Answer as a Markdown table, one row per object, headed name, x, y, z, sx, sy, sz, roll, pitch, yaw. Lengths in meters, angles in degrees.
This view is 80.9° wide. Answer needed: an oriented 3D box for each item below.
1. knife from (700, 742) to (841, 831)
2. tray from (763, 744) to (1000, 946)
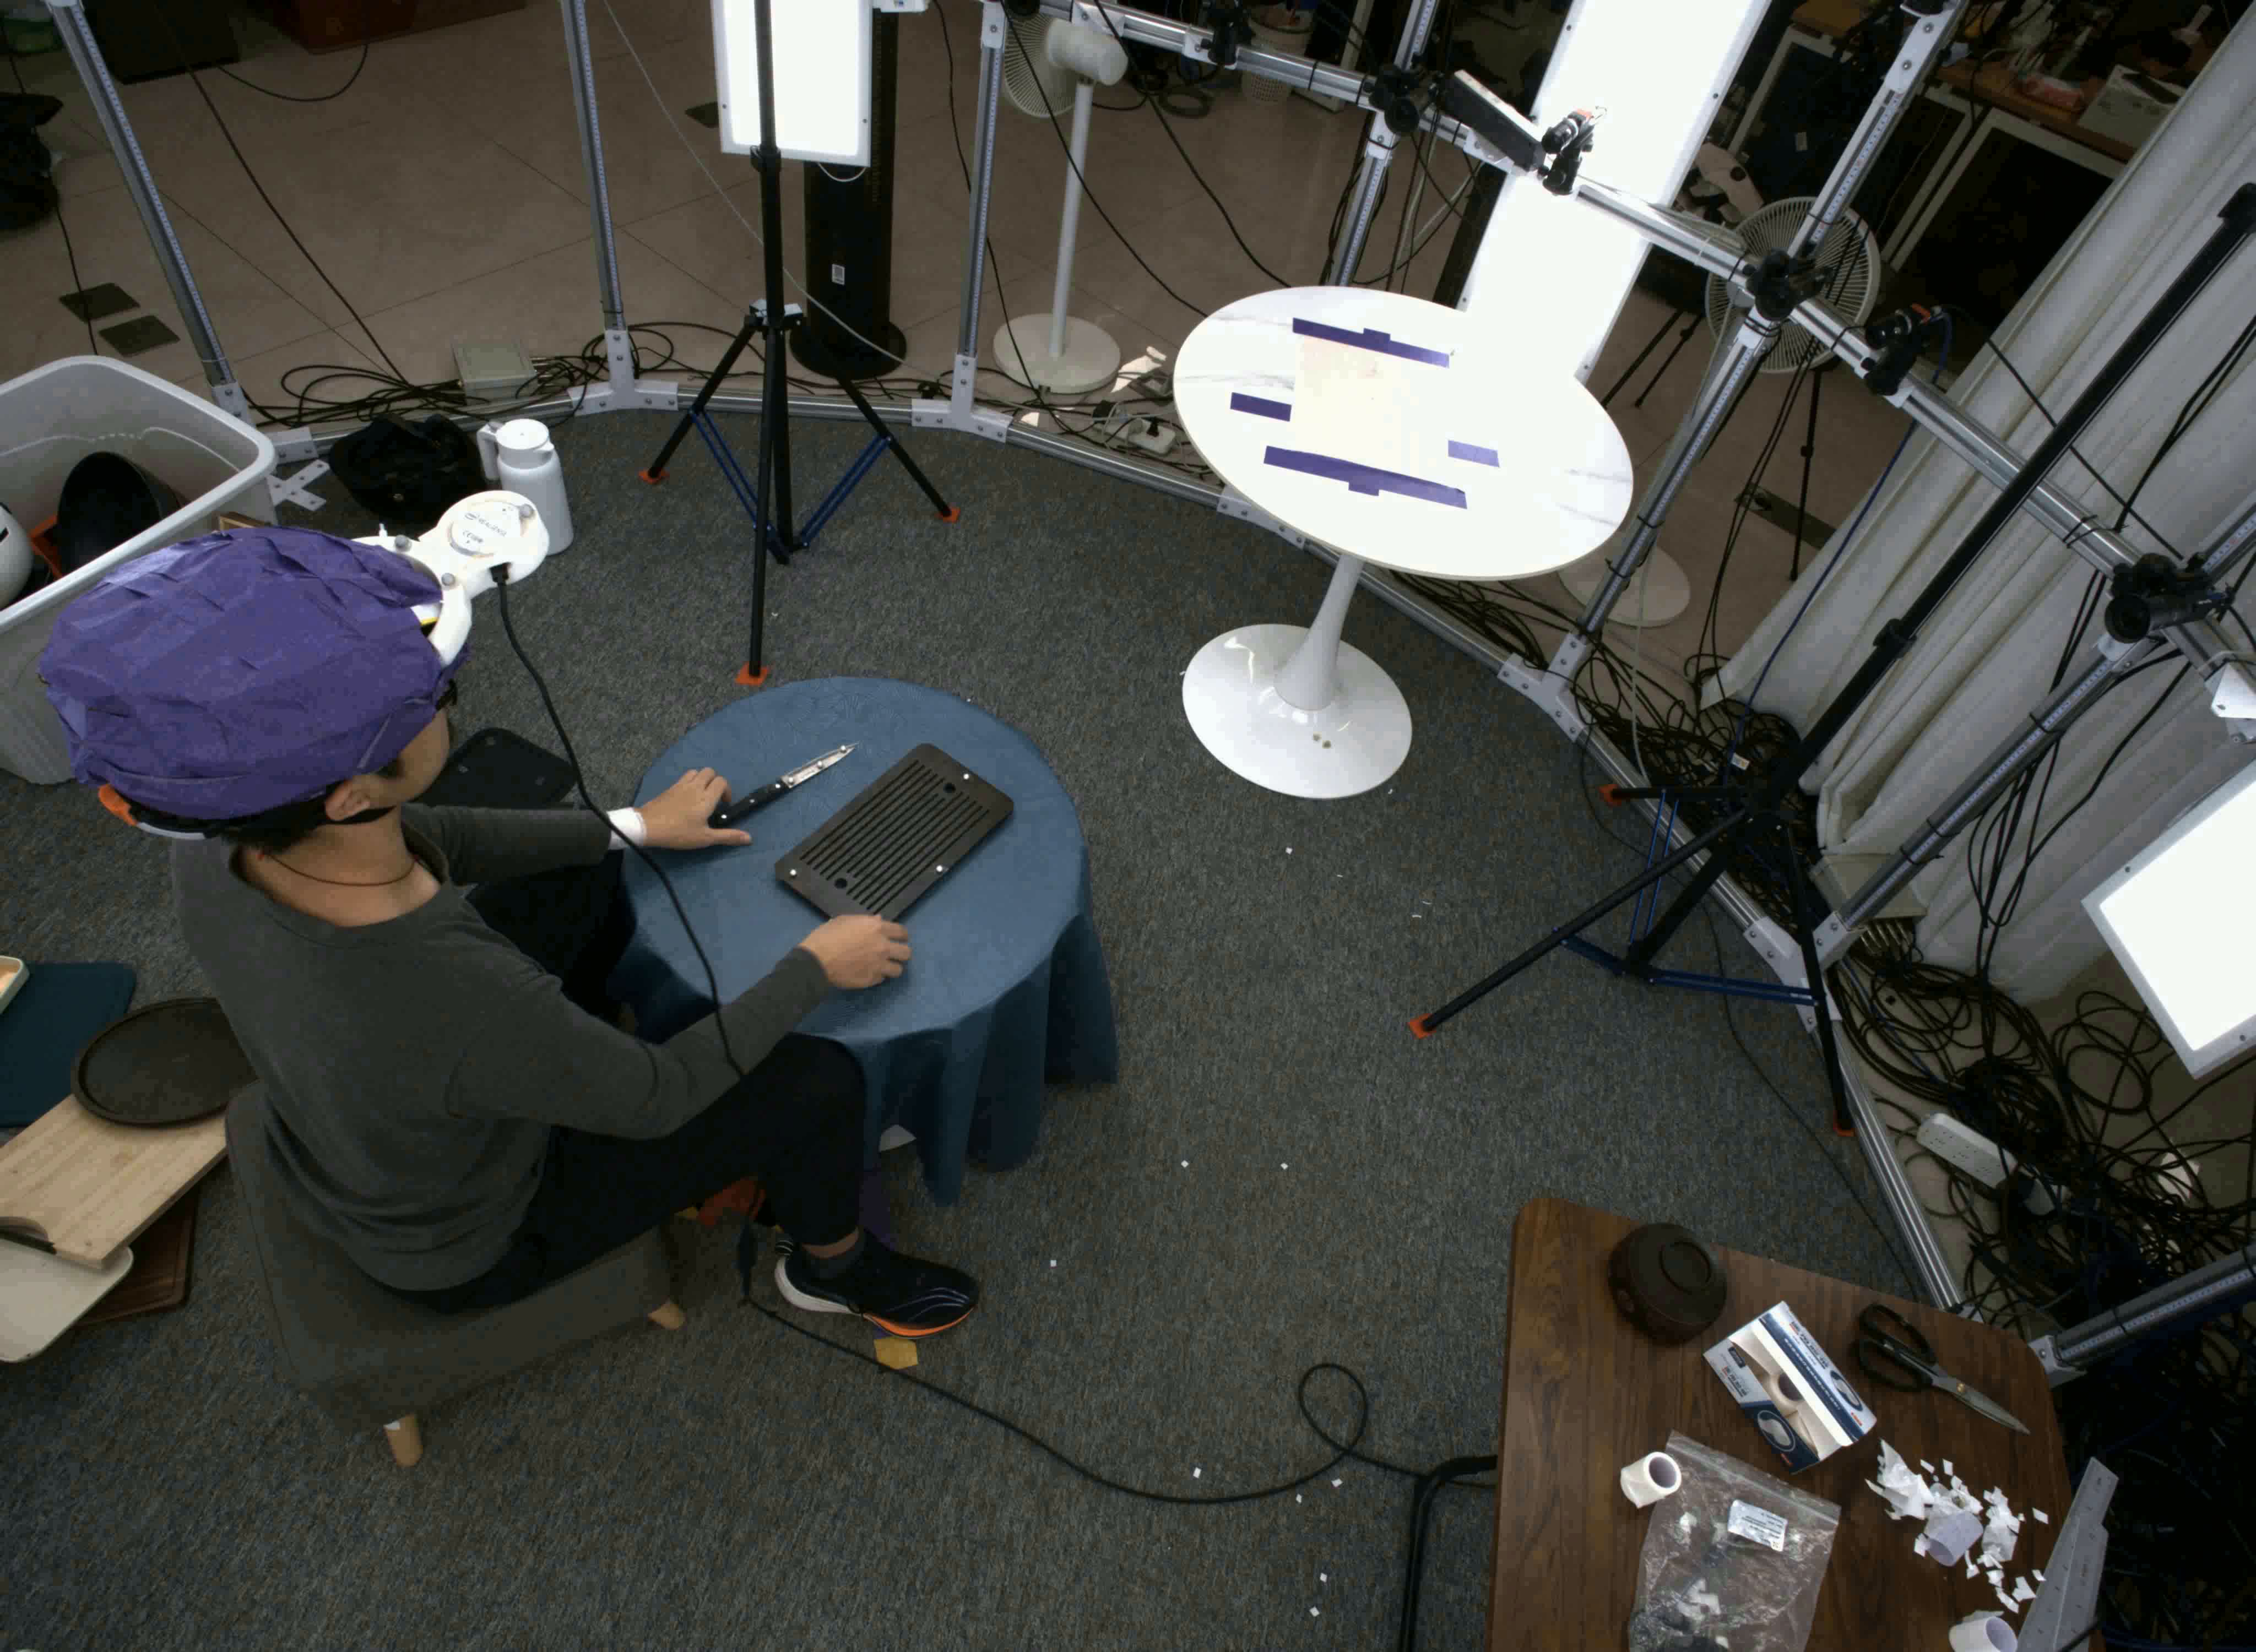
| name | x | y | z | sx | sy | sz | roll | pitch | yaw |
| --- | --- | --- | --- | --- | --- | --- | --- | --- | --- |
| knife | -0.479 | -0.057 | 1.757 | 0.024 | 0.016 | 0.238 | 39 | 52 | 17 |
| tray | -0.324 | 0.019 | 1.735 | 0.167 | 0.019 | 0.305 | 34 | 53 | 12 |
